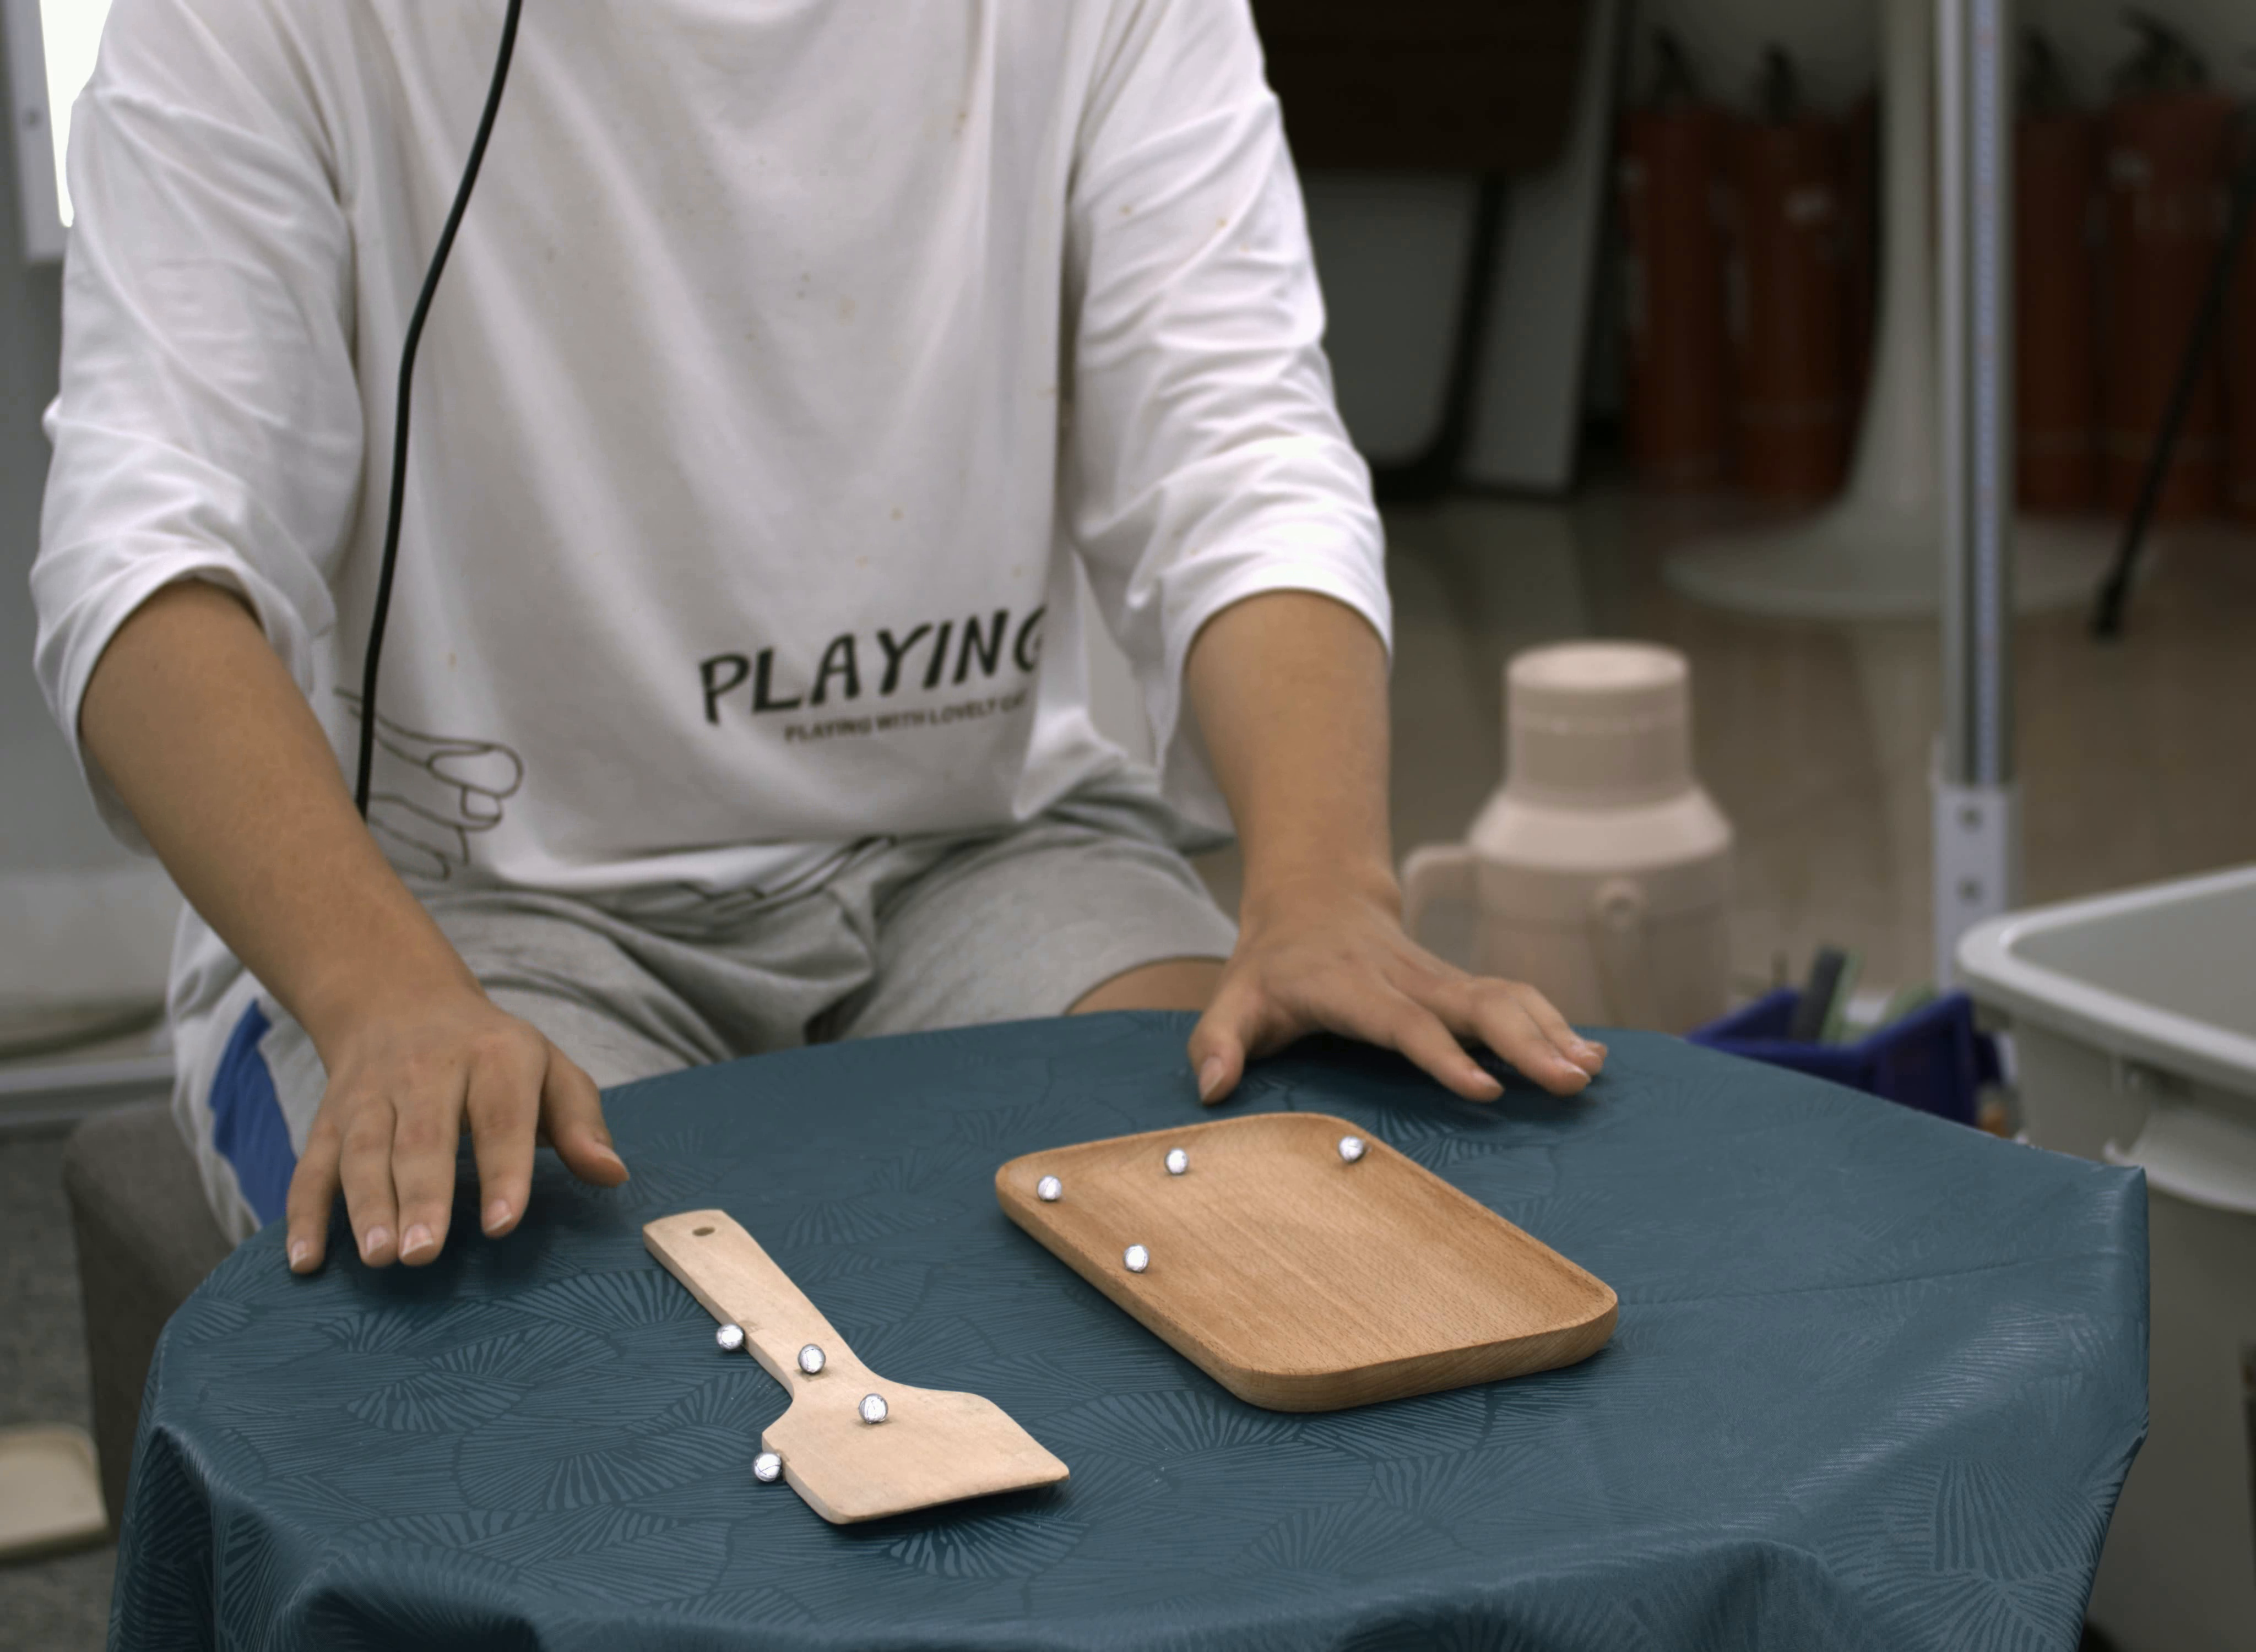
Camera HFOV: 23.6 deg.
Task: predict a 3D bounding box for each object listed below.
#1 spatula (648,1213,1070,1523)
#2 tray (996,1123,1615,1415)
[{"bbox_3d":[-0.096,0.159,1.624,0.071,0.011,0.295,-10,14,-18],"label":"spatula"},{"bbox_3d":[0.051,0.135,1.672,0.128,0.023,0.253,-11,15,-17],"label":"tray"}]
